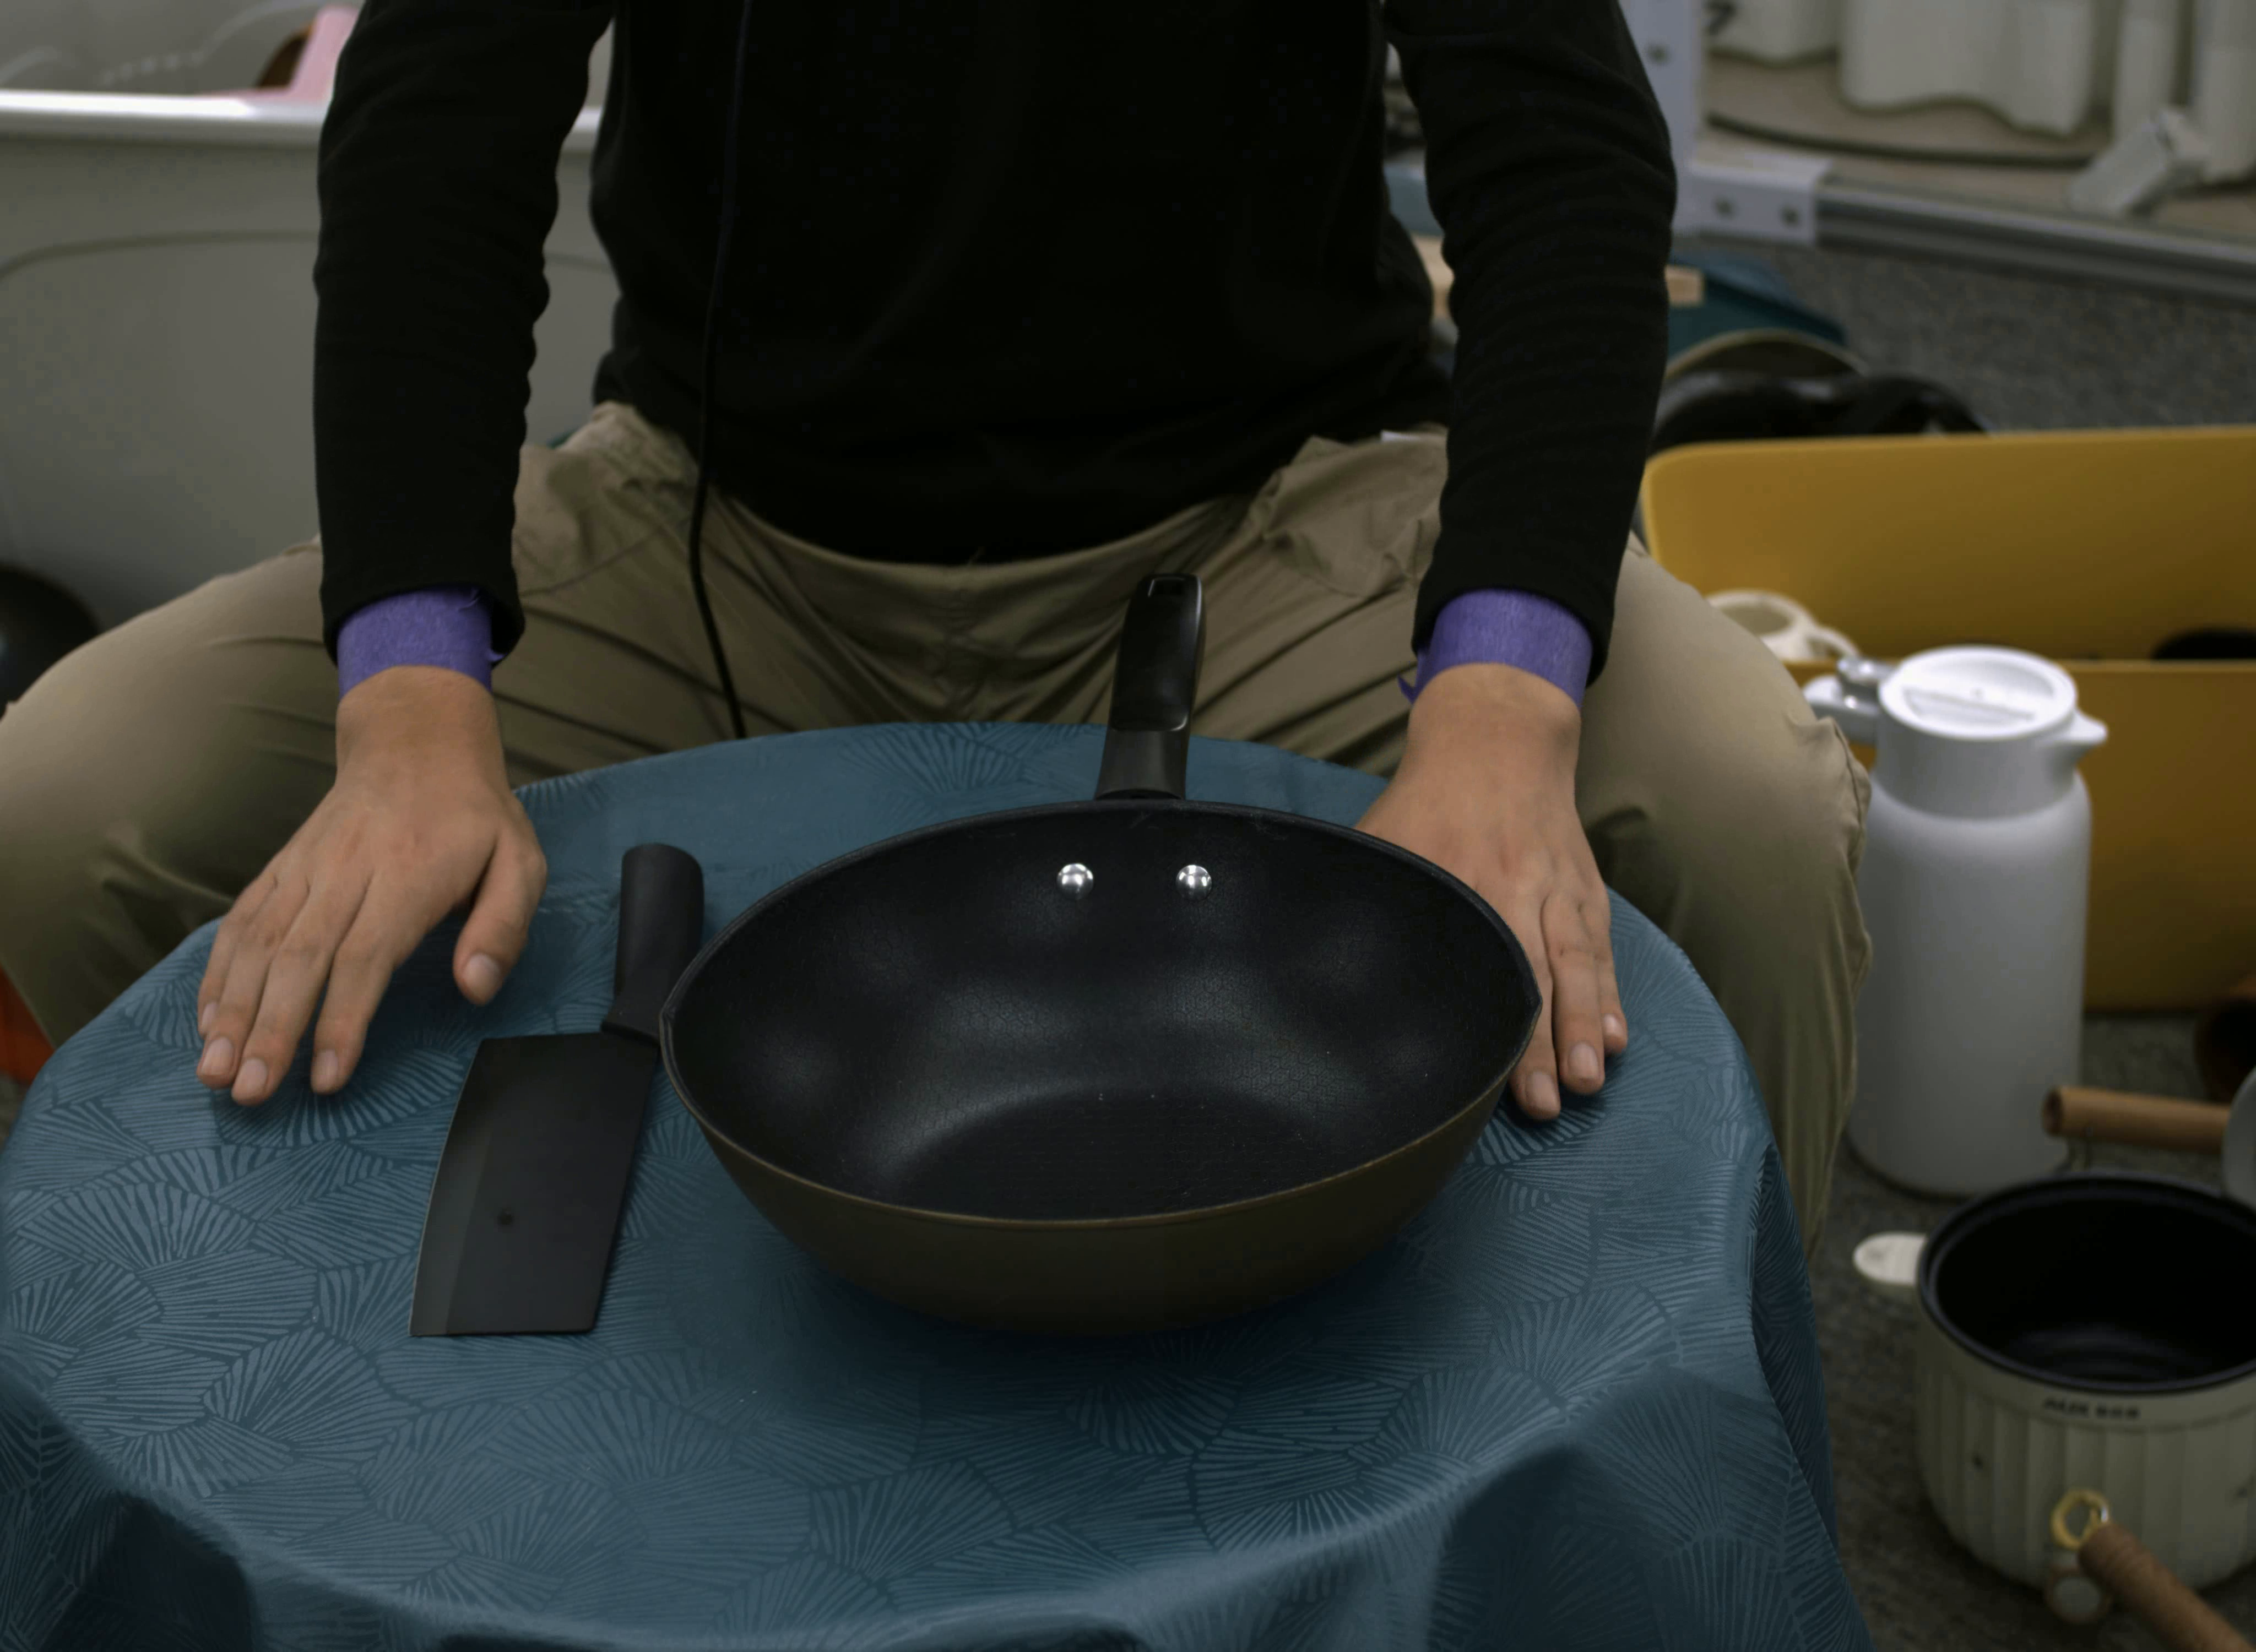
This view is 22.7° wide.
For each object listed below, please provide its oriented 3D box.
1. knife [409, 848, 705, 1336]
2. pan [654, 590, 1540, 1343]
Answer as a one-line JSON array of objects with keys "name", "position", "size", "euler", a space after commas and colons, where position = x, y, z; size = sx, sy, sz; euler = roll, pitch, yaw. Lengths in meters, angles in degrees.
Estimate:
[{"name": "knife", "position": [-0.190, 0.089, 1.926], "size": [0.080, 0.020, 0.307], "euler": [1, 29, 8]}, {"name": "pan", "position": [-0.001, 0.049, 1.912], "size": [0.286, 0.086, 0.471], "euler": [0, 27, 6]}]
